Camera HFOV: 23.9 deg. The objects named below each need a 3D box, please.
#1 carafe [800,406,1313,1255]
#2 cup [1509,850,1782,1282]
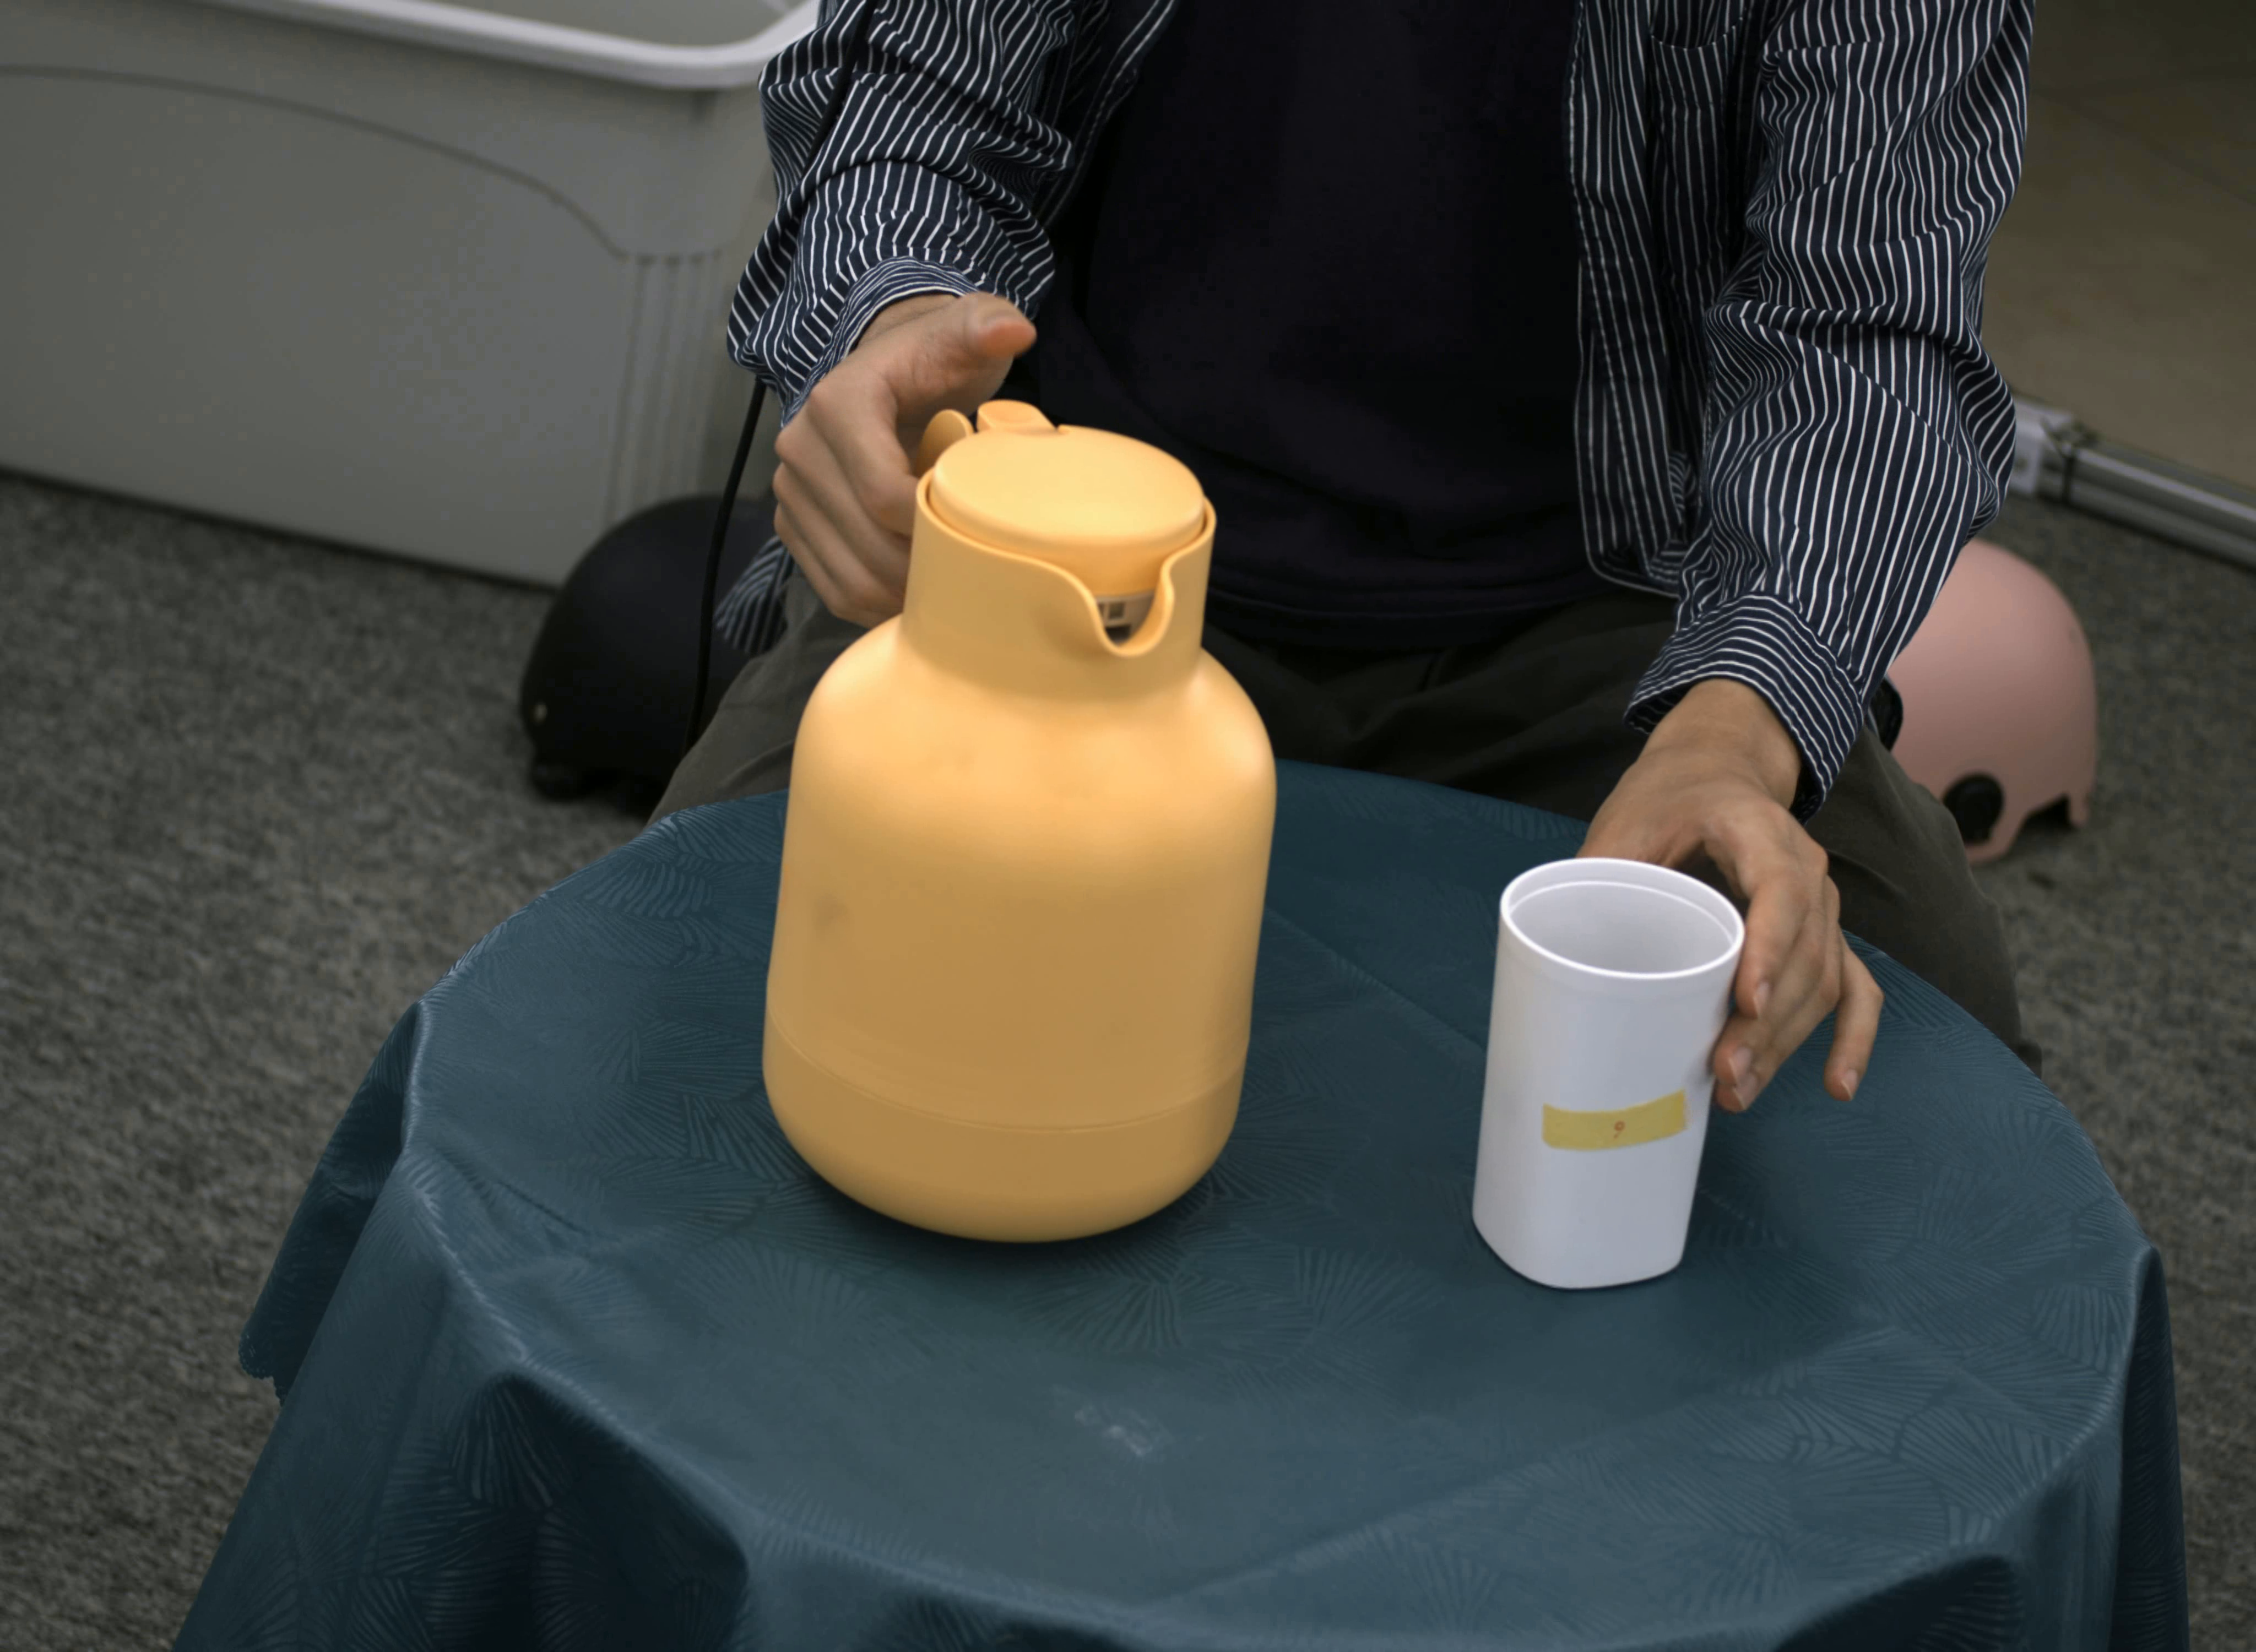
[{"bbox_3d":[-0.026,-0.008,1.765,0.162,0.259,0.204,-3,28,-21],"label":"carafe"},{"bbox_3d":[0.170,0.082,1.774,0.081,0.125,0.082,4,26,-2],"label":"cup"}]
